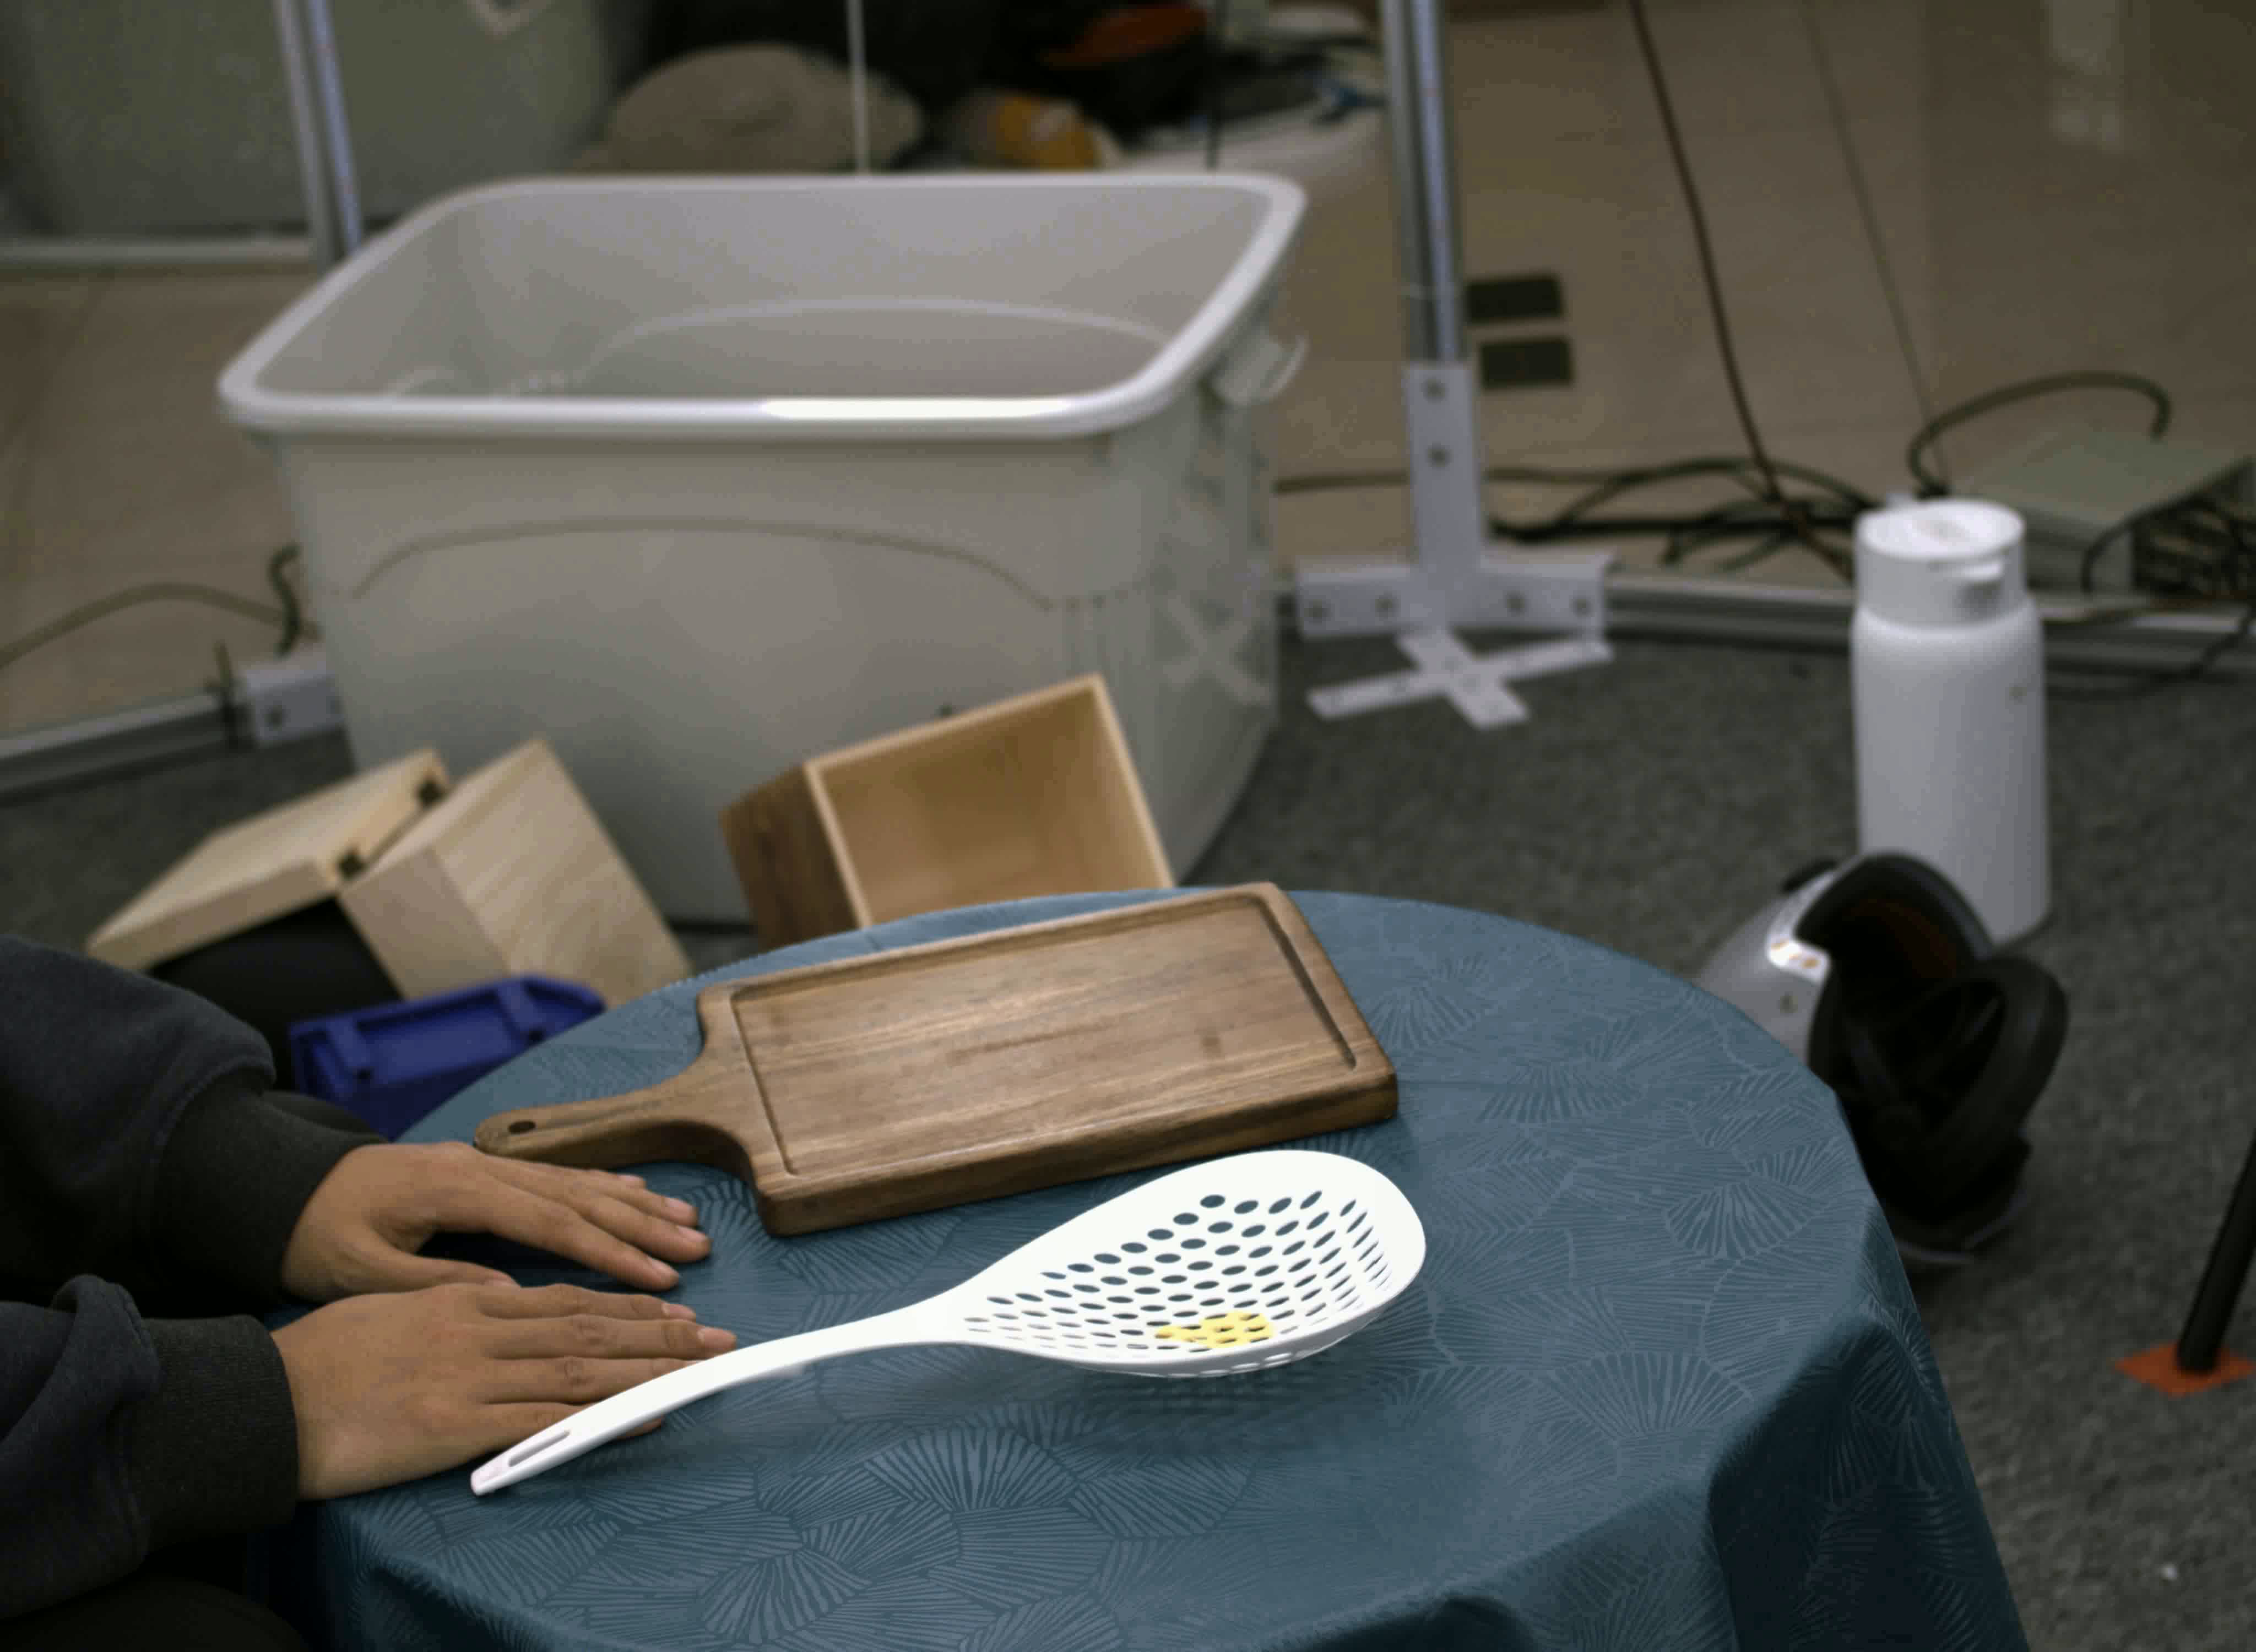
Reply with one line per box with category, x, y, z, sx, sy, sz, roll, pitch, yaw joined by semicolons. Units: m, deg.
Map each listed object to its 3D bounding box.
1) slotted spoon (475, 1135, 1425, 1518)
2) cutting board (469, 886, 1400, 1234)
slotted spoon;-0.064;0.185;2.014;0.347;0.051;0.135;-10;27;-9
cutting board;-0.085;0.098;2.233;0.351;0.023;0.198;-10;24;-9
